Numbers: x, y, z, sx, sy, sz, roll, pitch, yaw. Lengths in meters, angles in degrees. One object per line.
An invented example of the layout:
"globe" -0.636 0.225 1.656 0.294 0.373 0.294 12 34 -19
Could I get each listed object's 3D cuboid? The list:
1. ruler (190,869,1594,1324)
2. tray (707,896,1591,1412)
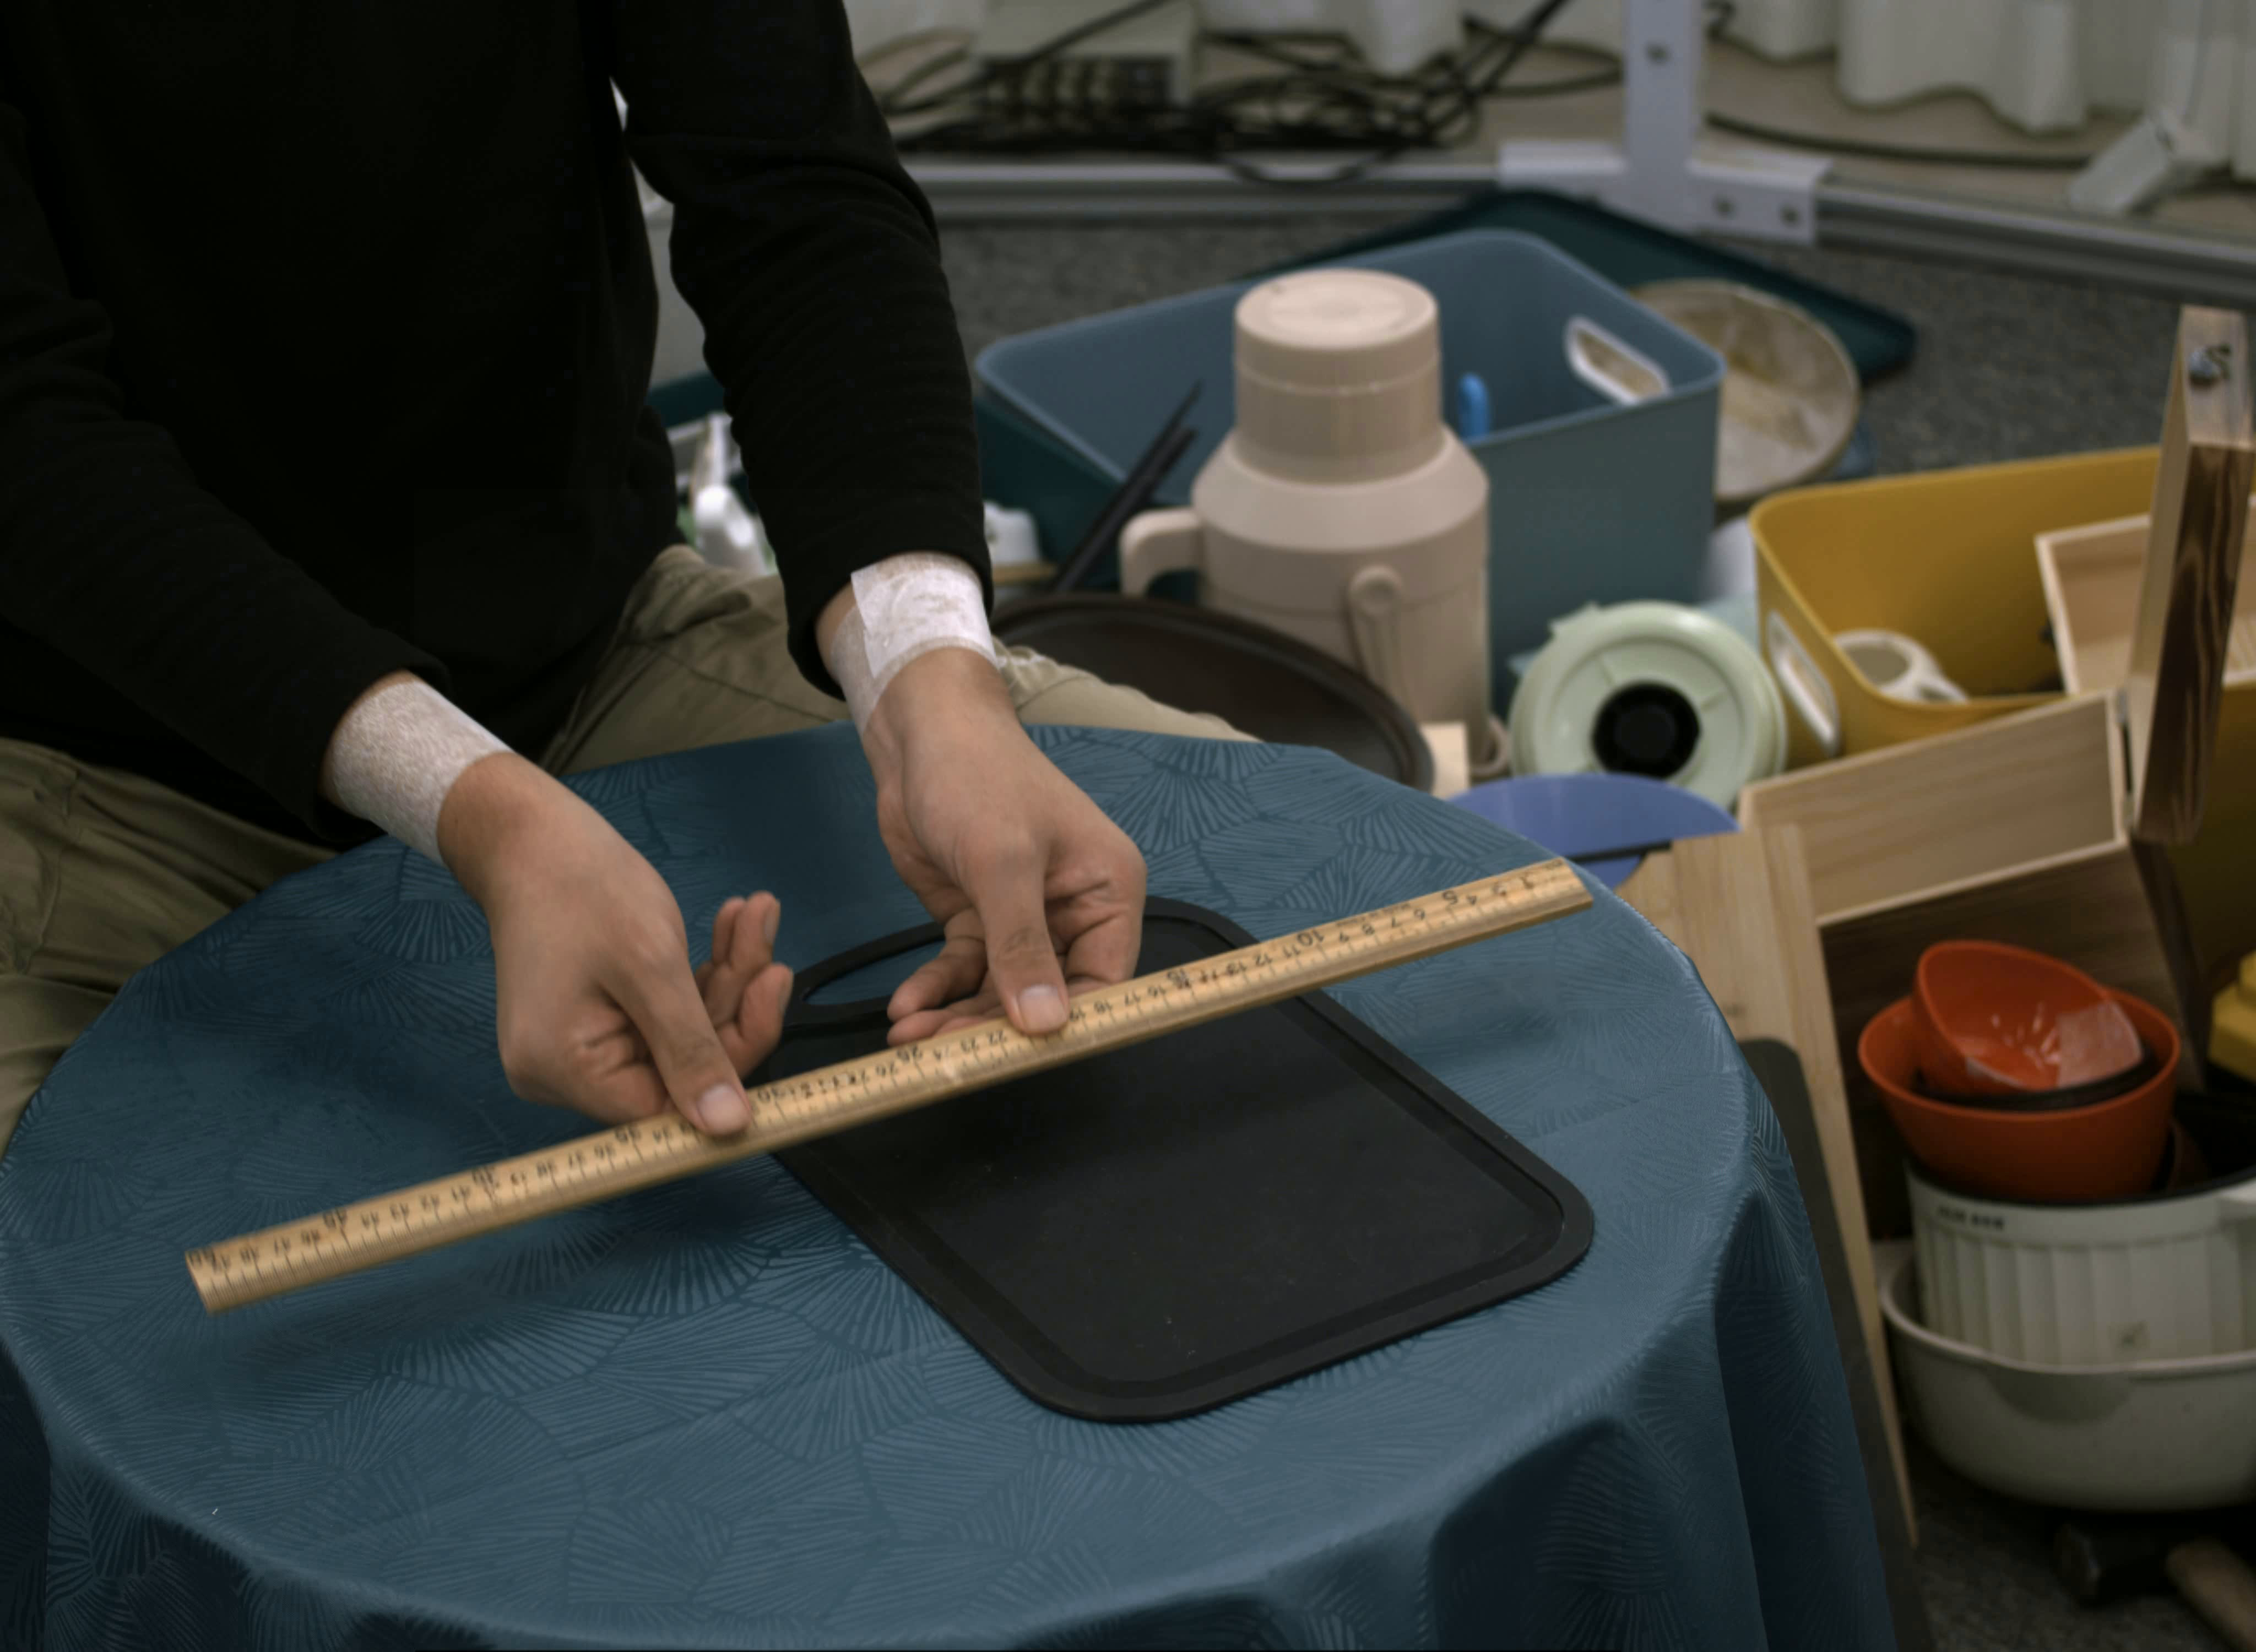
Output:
"ruler" -0.069 0.085 1.864 0.502 0.006 0.027 -16 45 -21
"tray" -0.003 0.101 1.894 0.212 0.009 0.327 -17 30 -25
